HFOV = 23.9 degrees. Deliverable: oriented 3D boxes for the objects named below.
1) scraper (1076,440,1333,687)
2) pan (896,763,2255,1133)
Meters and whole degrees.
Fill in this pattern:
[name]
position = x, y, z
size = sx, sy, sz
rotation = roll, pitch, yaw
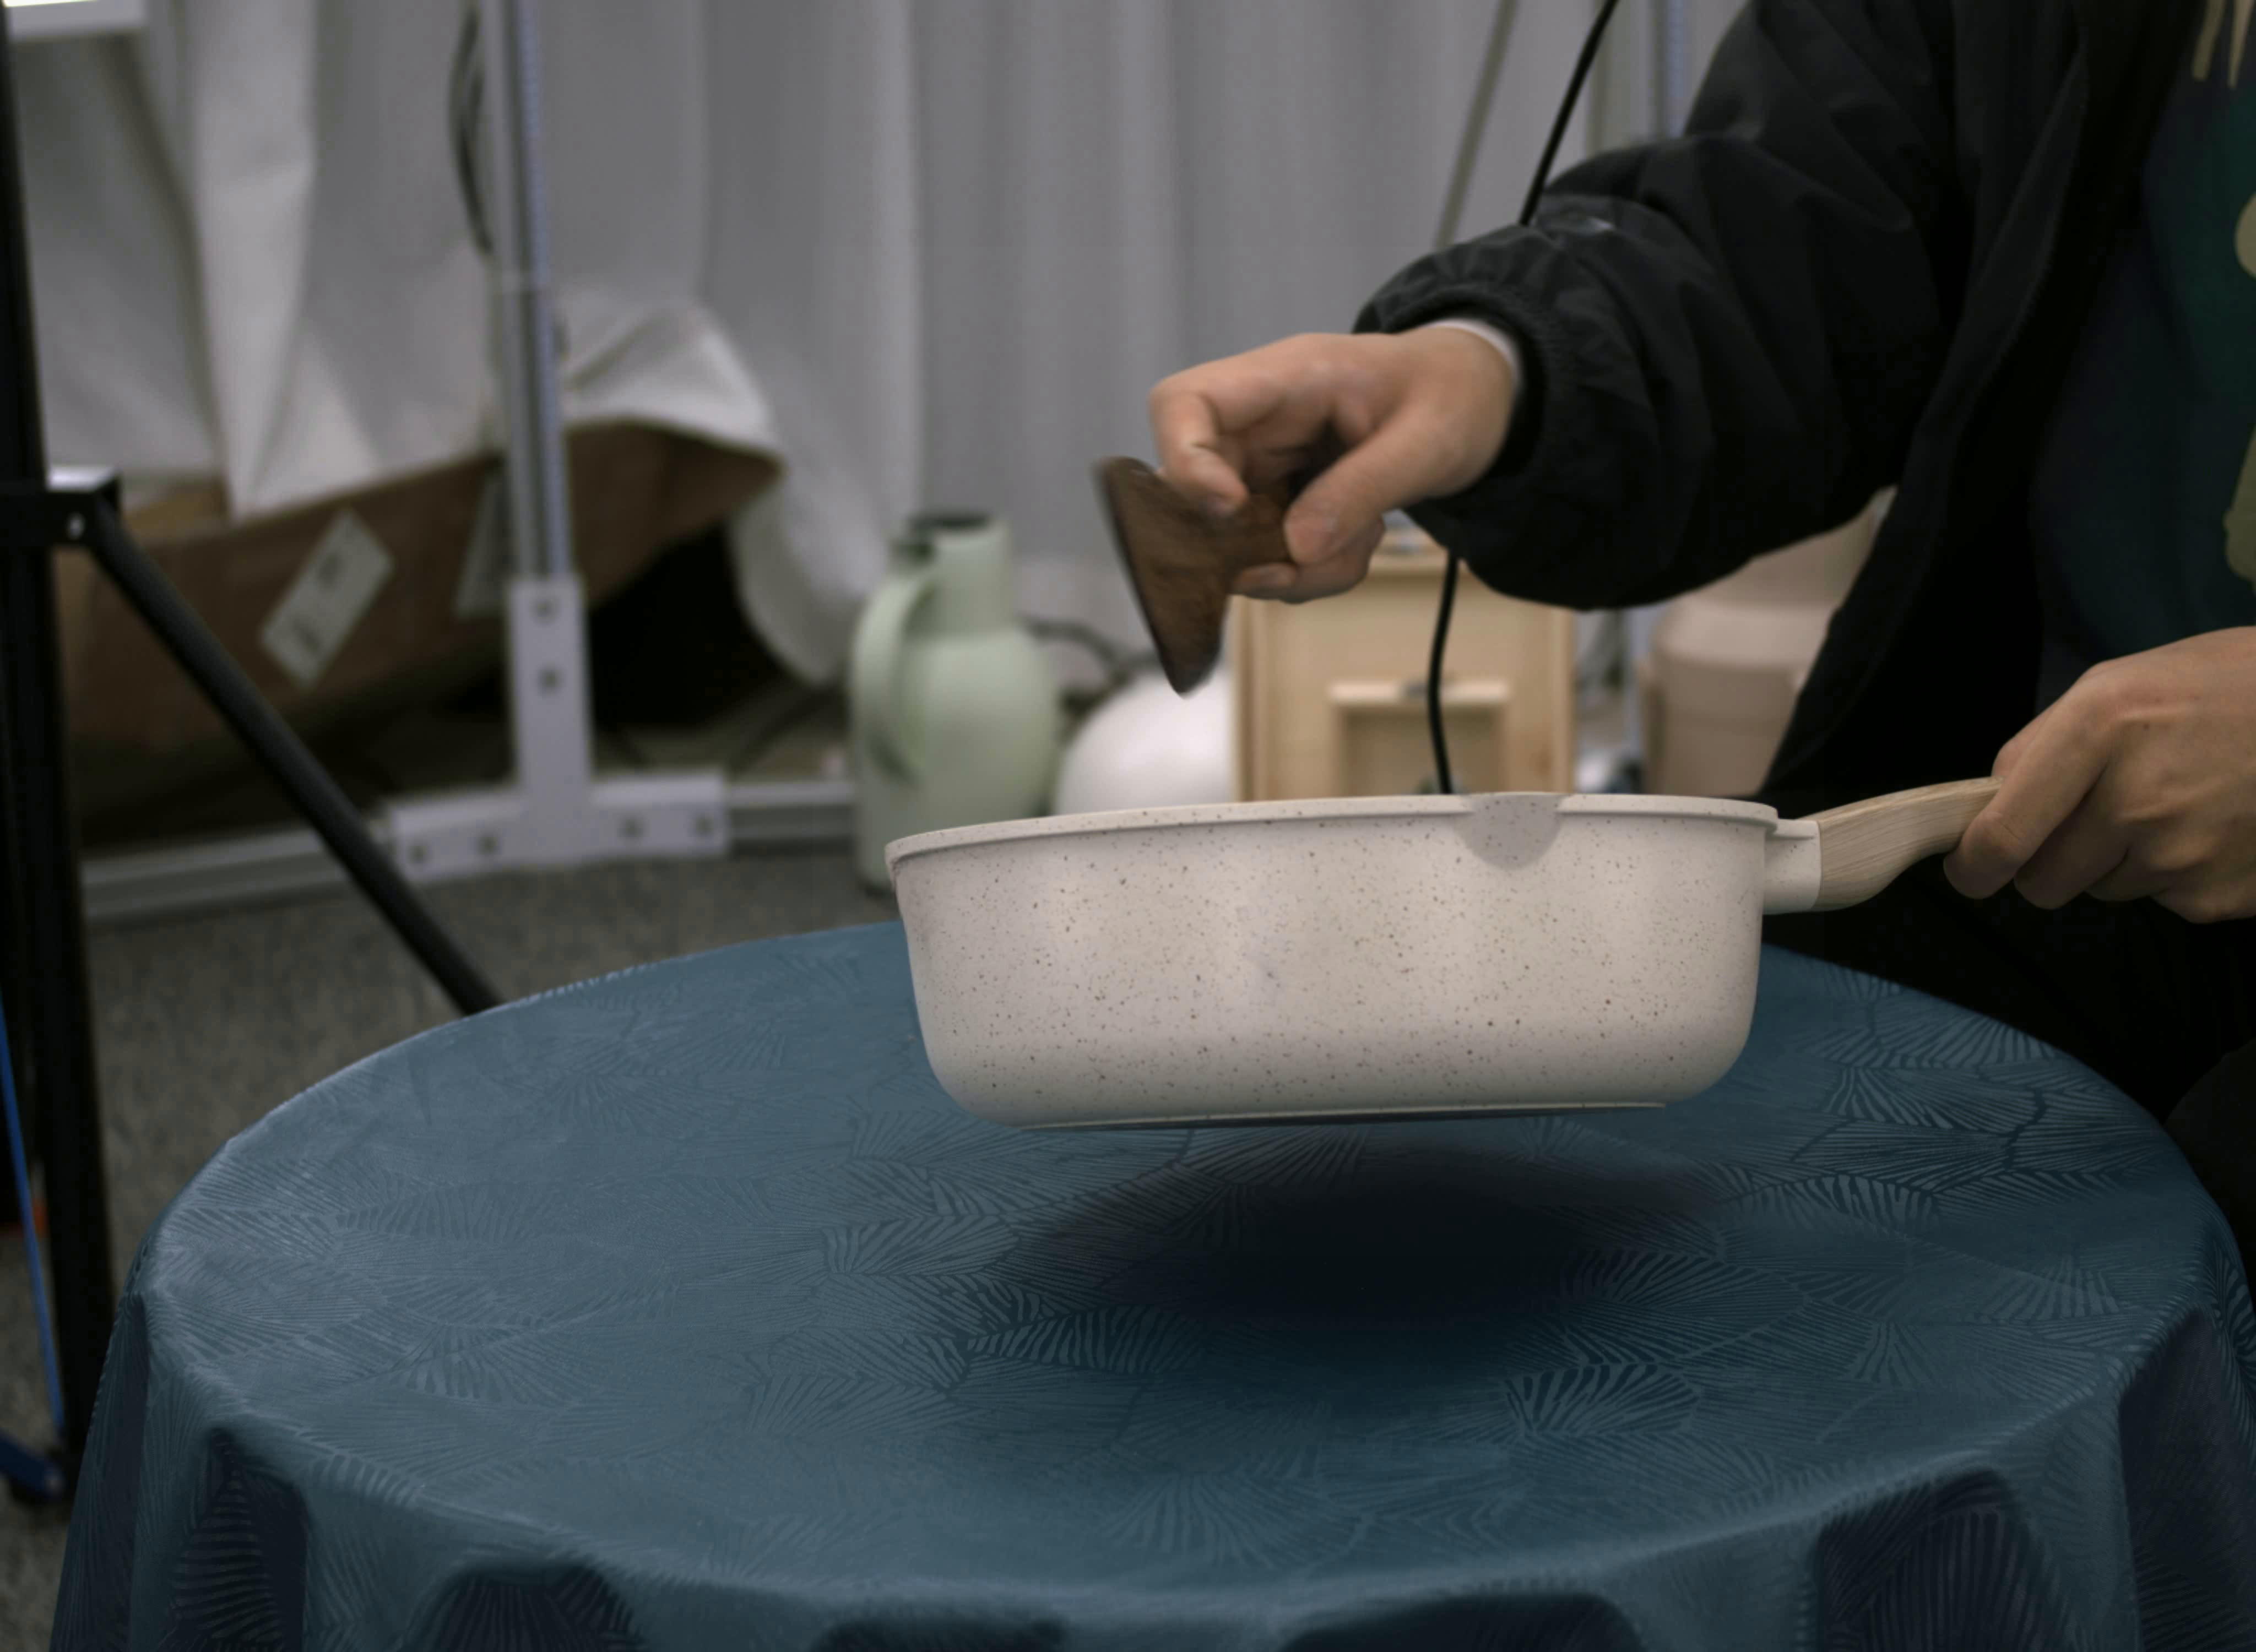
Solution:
[scraper]
position = 0.028, -0.089, 1.636
size = 0.011, 0.076, 0.208
rotation = -23, 1, 21
[pan]
position = 0.146, 0.033, 1.511
size = 0.426, 0.102, 0.267
rotation = 0, -6, -20
